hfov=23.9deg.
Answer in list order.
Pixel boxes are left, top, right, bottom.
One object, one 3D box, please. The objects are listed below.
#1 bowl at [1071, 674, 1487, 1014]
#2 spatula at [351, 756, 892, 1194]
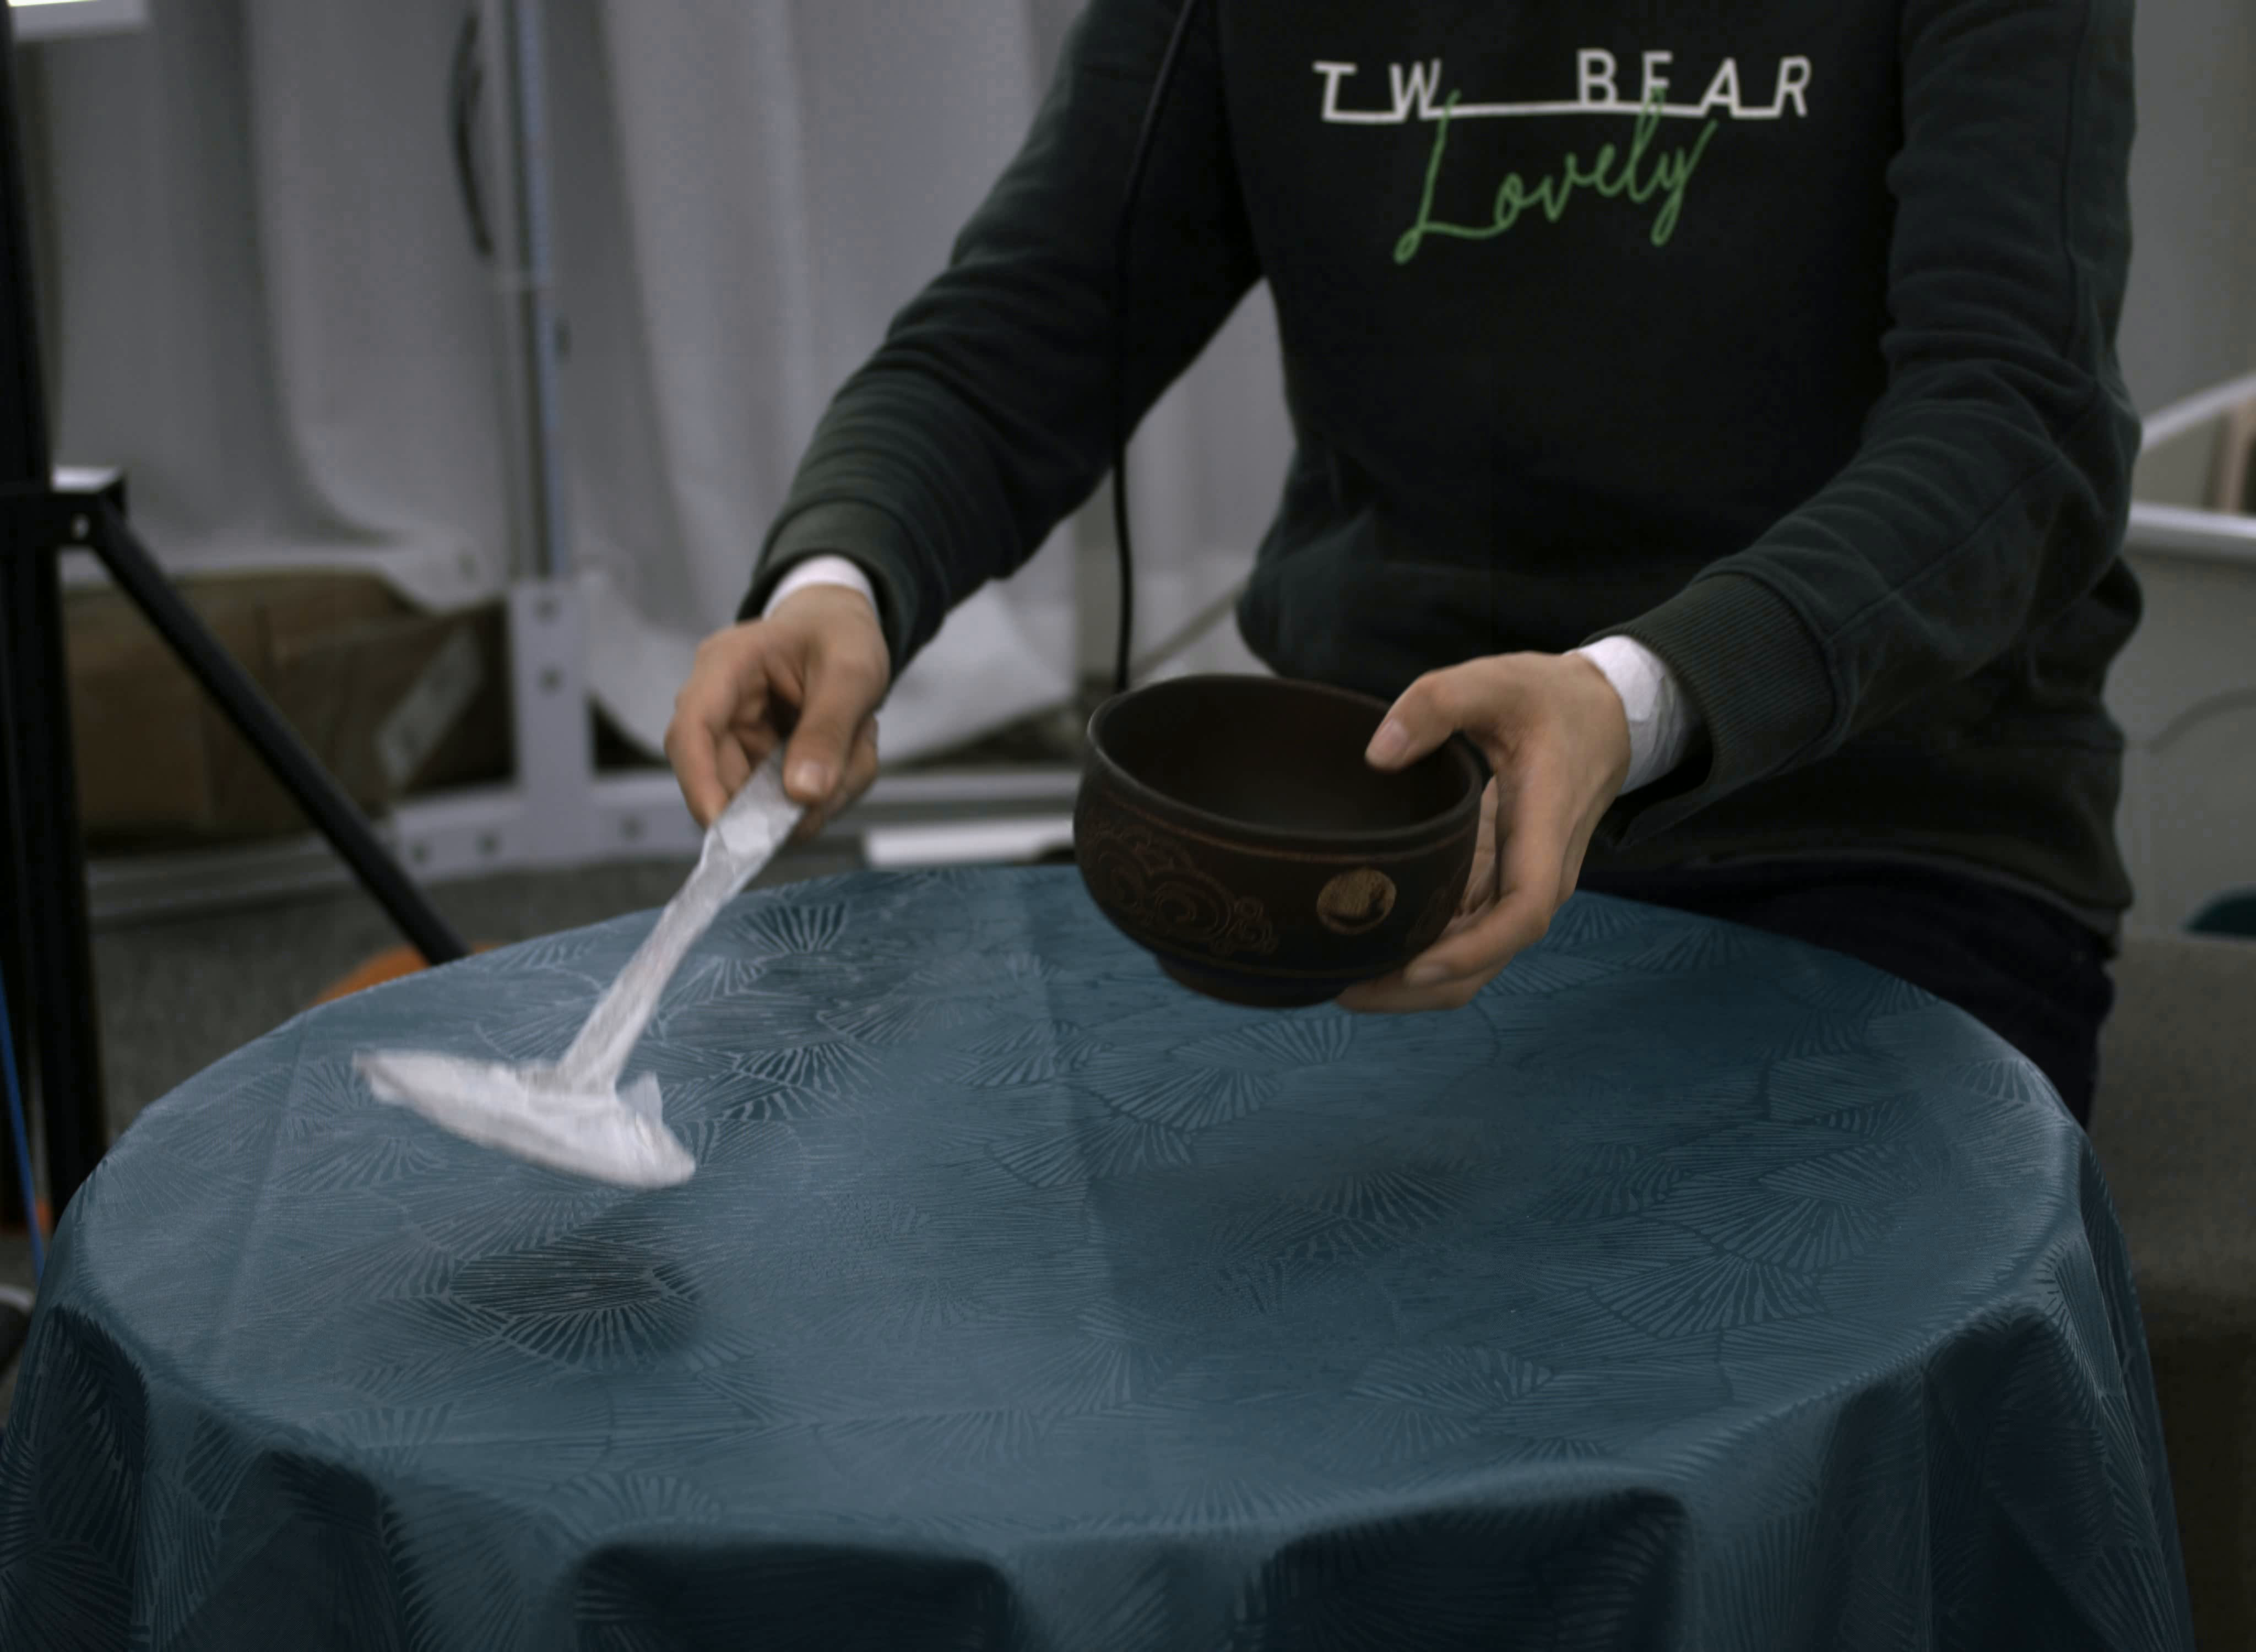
[{"bbox_3d":[0.040,0.011,1.518,0.117,0.070,0.119,8,23,-5],"label":"bowl"},{"bbox_3d":[-0.131,0.033,1.612,0.099,0.045,0.363,18,28,8],"label":"spatula"}]
